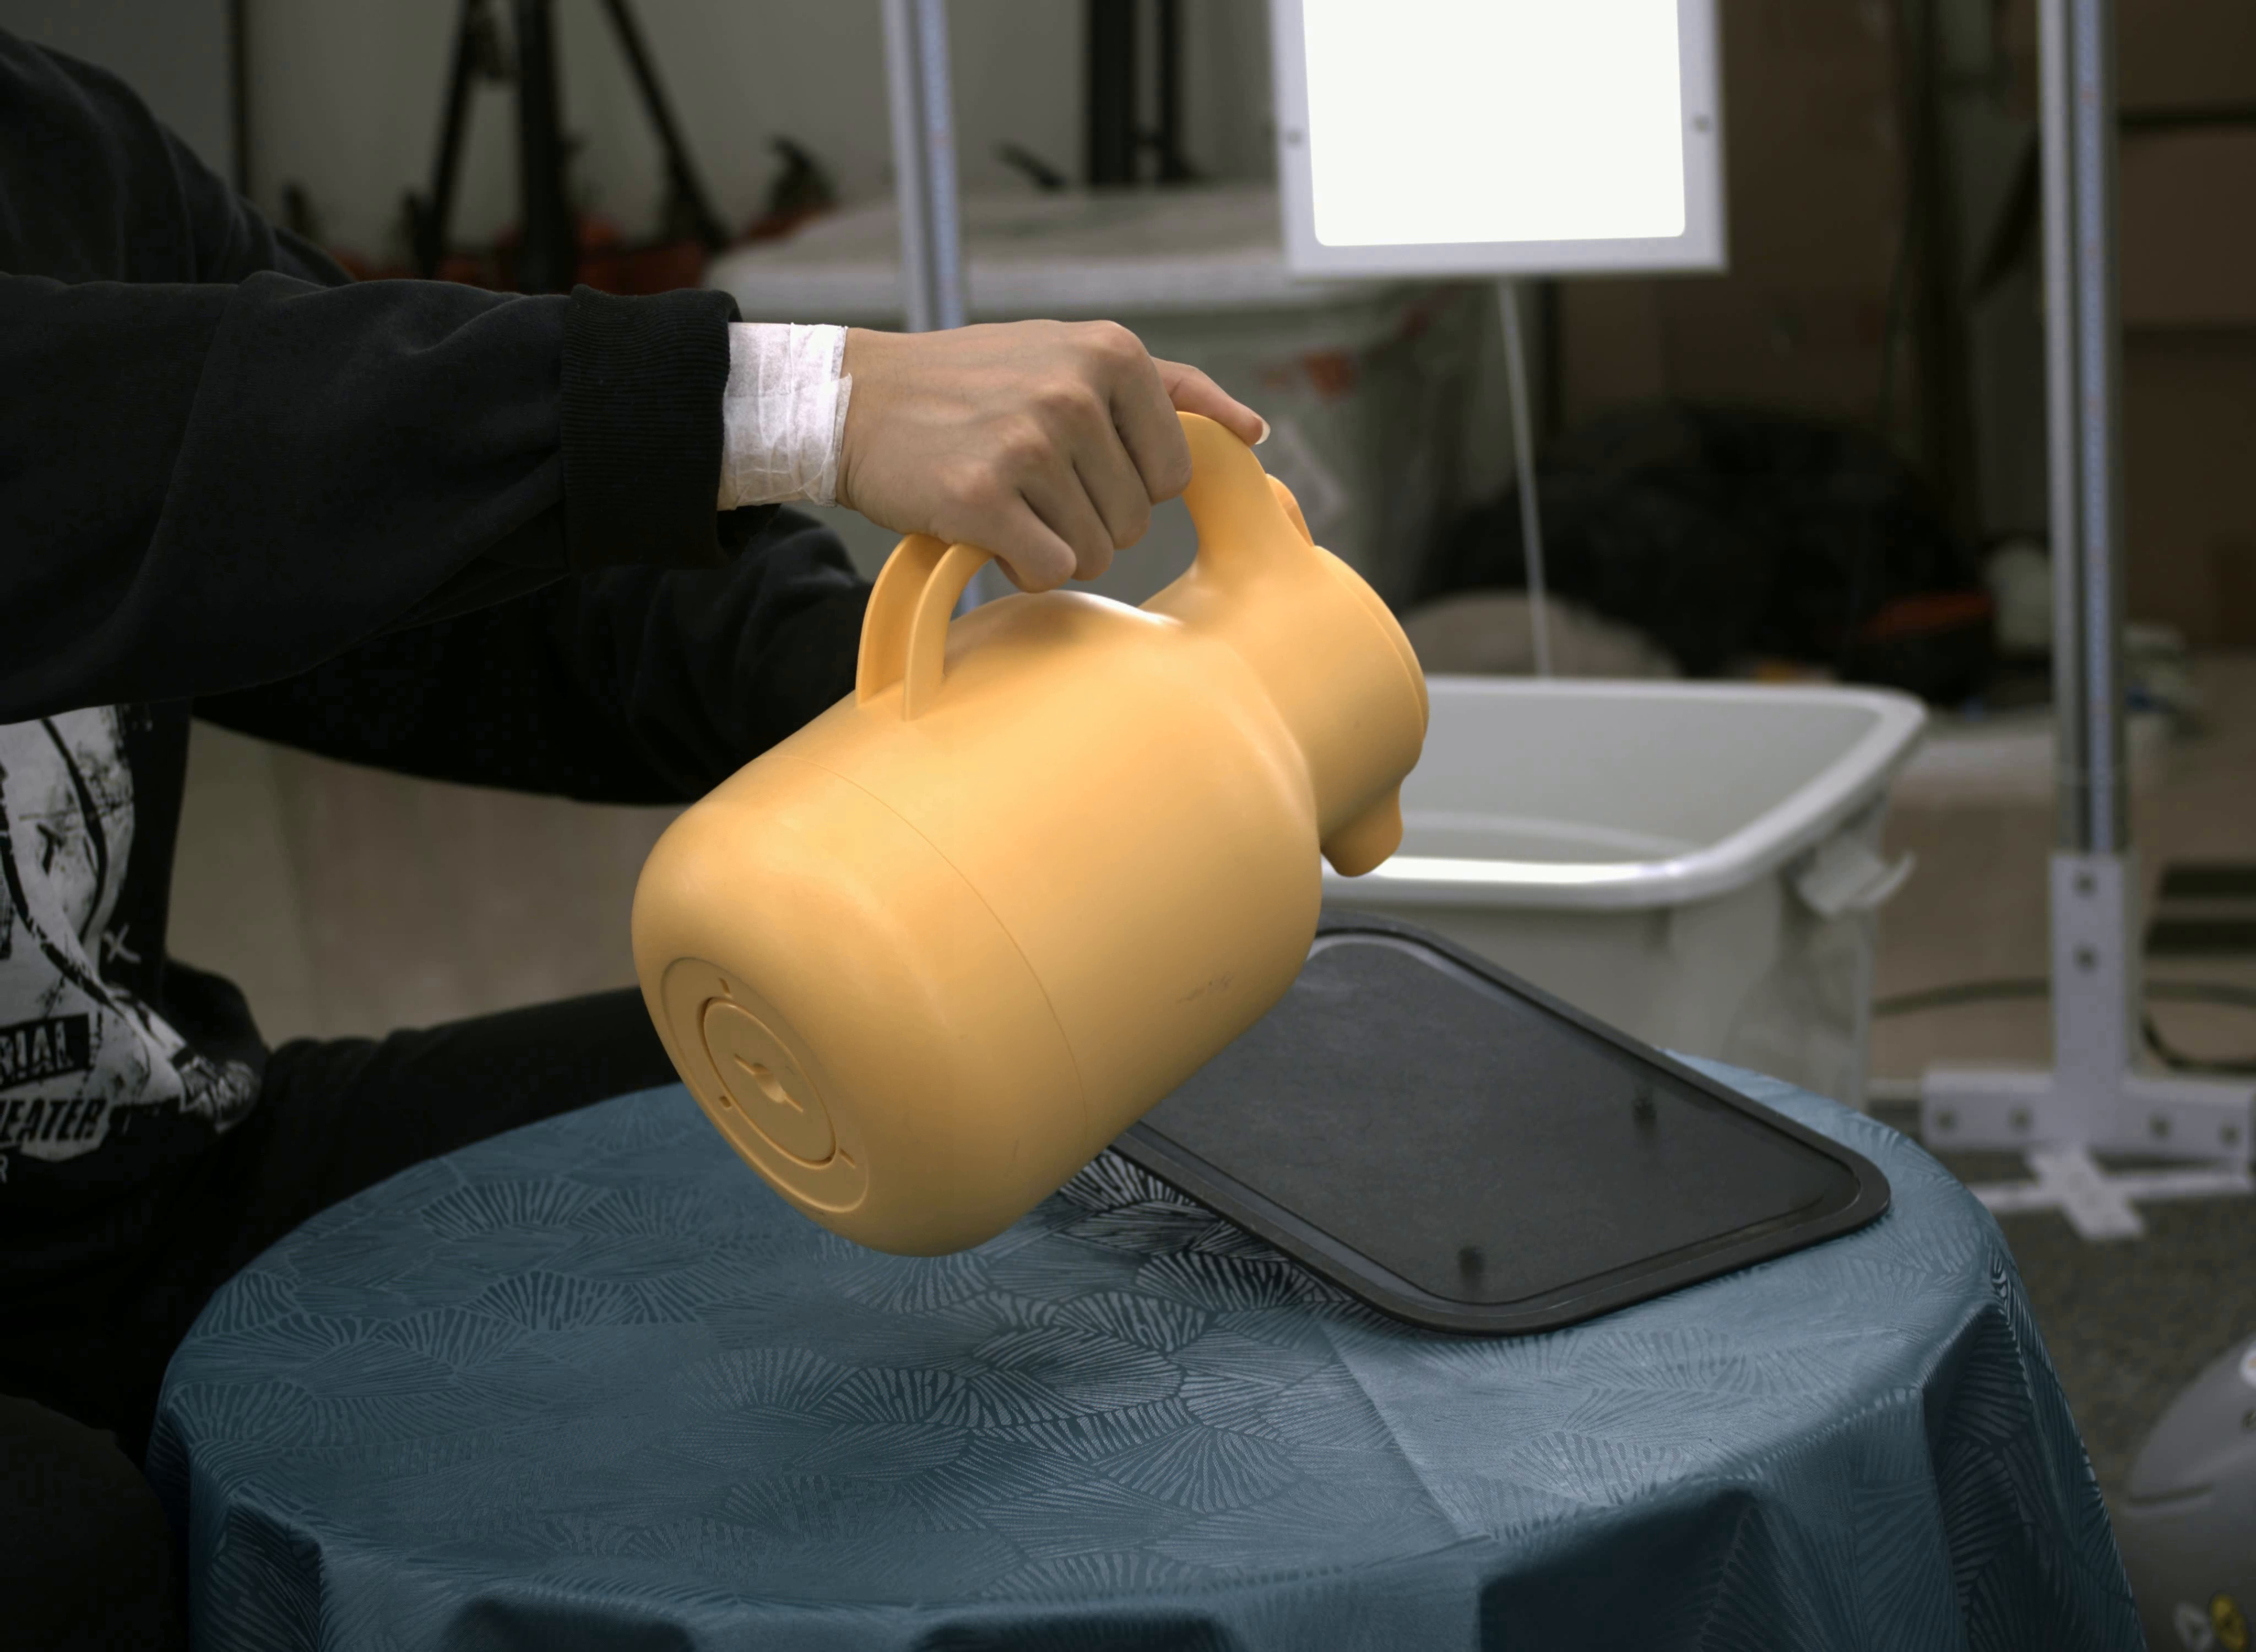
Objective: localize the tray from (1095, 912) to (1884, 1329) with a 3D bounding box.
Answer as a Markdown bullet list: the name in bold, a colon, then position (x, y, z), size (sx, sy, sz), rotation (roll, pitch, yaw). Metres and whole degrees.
- **tray**: position (0.090, 0.092, 1.877), size (0.206, 0.010, 0.331), rotation (-14, 26, -33)

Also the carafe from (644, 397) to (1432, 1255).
- **carafe**: position (-0.025, -0.009, 1.724), size (0.255, 0.202, 0.167), rotation (-39, 29, -29)
